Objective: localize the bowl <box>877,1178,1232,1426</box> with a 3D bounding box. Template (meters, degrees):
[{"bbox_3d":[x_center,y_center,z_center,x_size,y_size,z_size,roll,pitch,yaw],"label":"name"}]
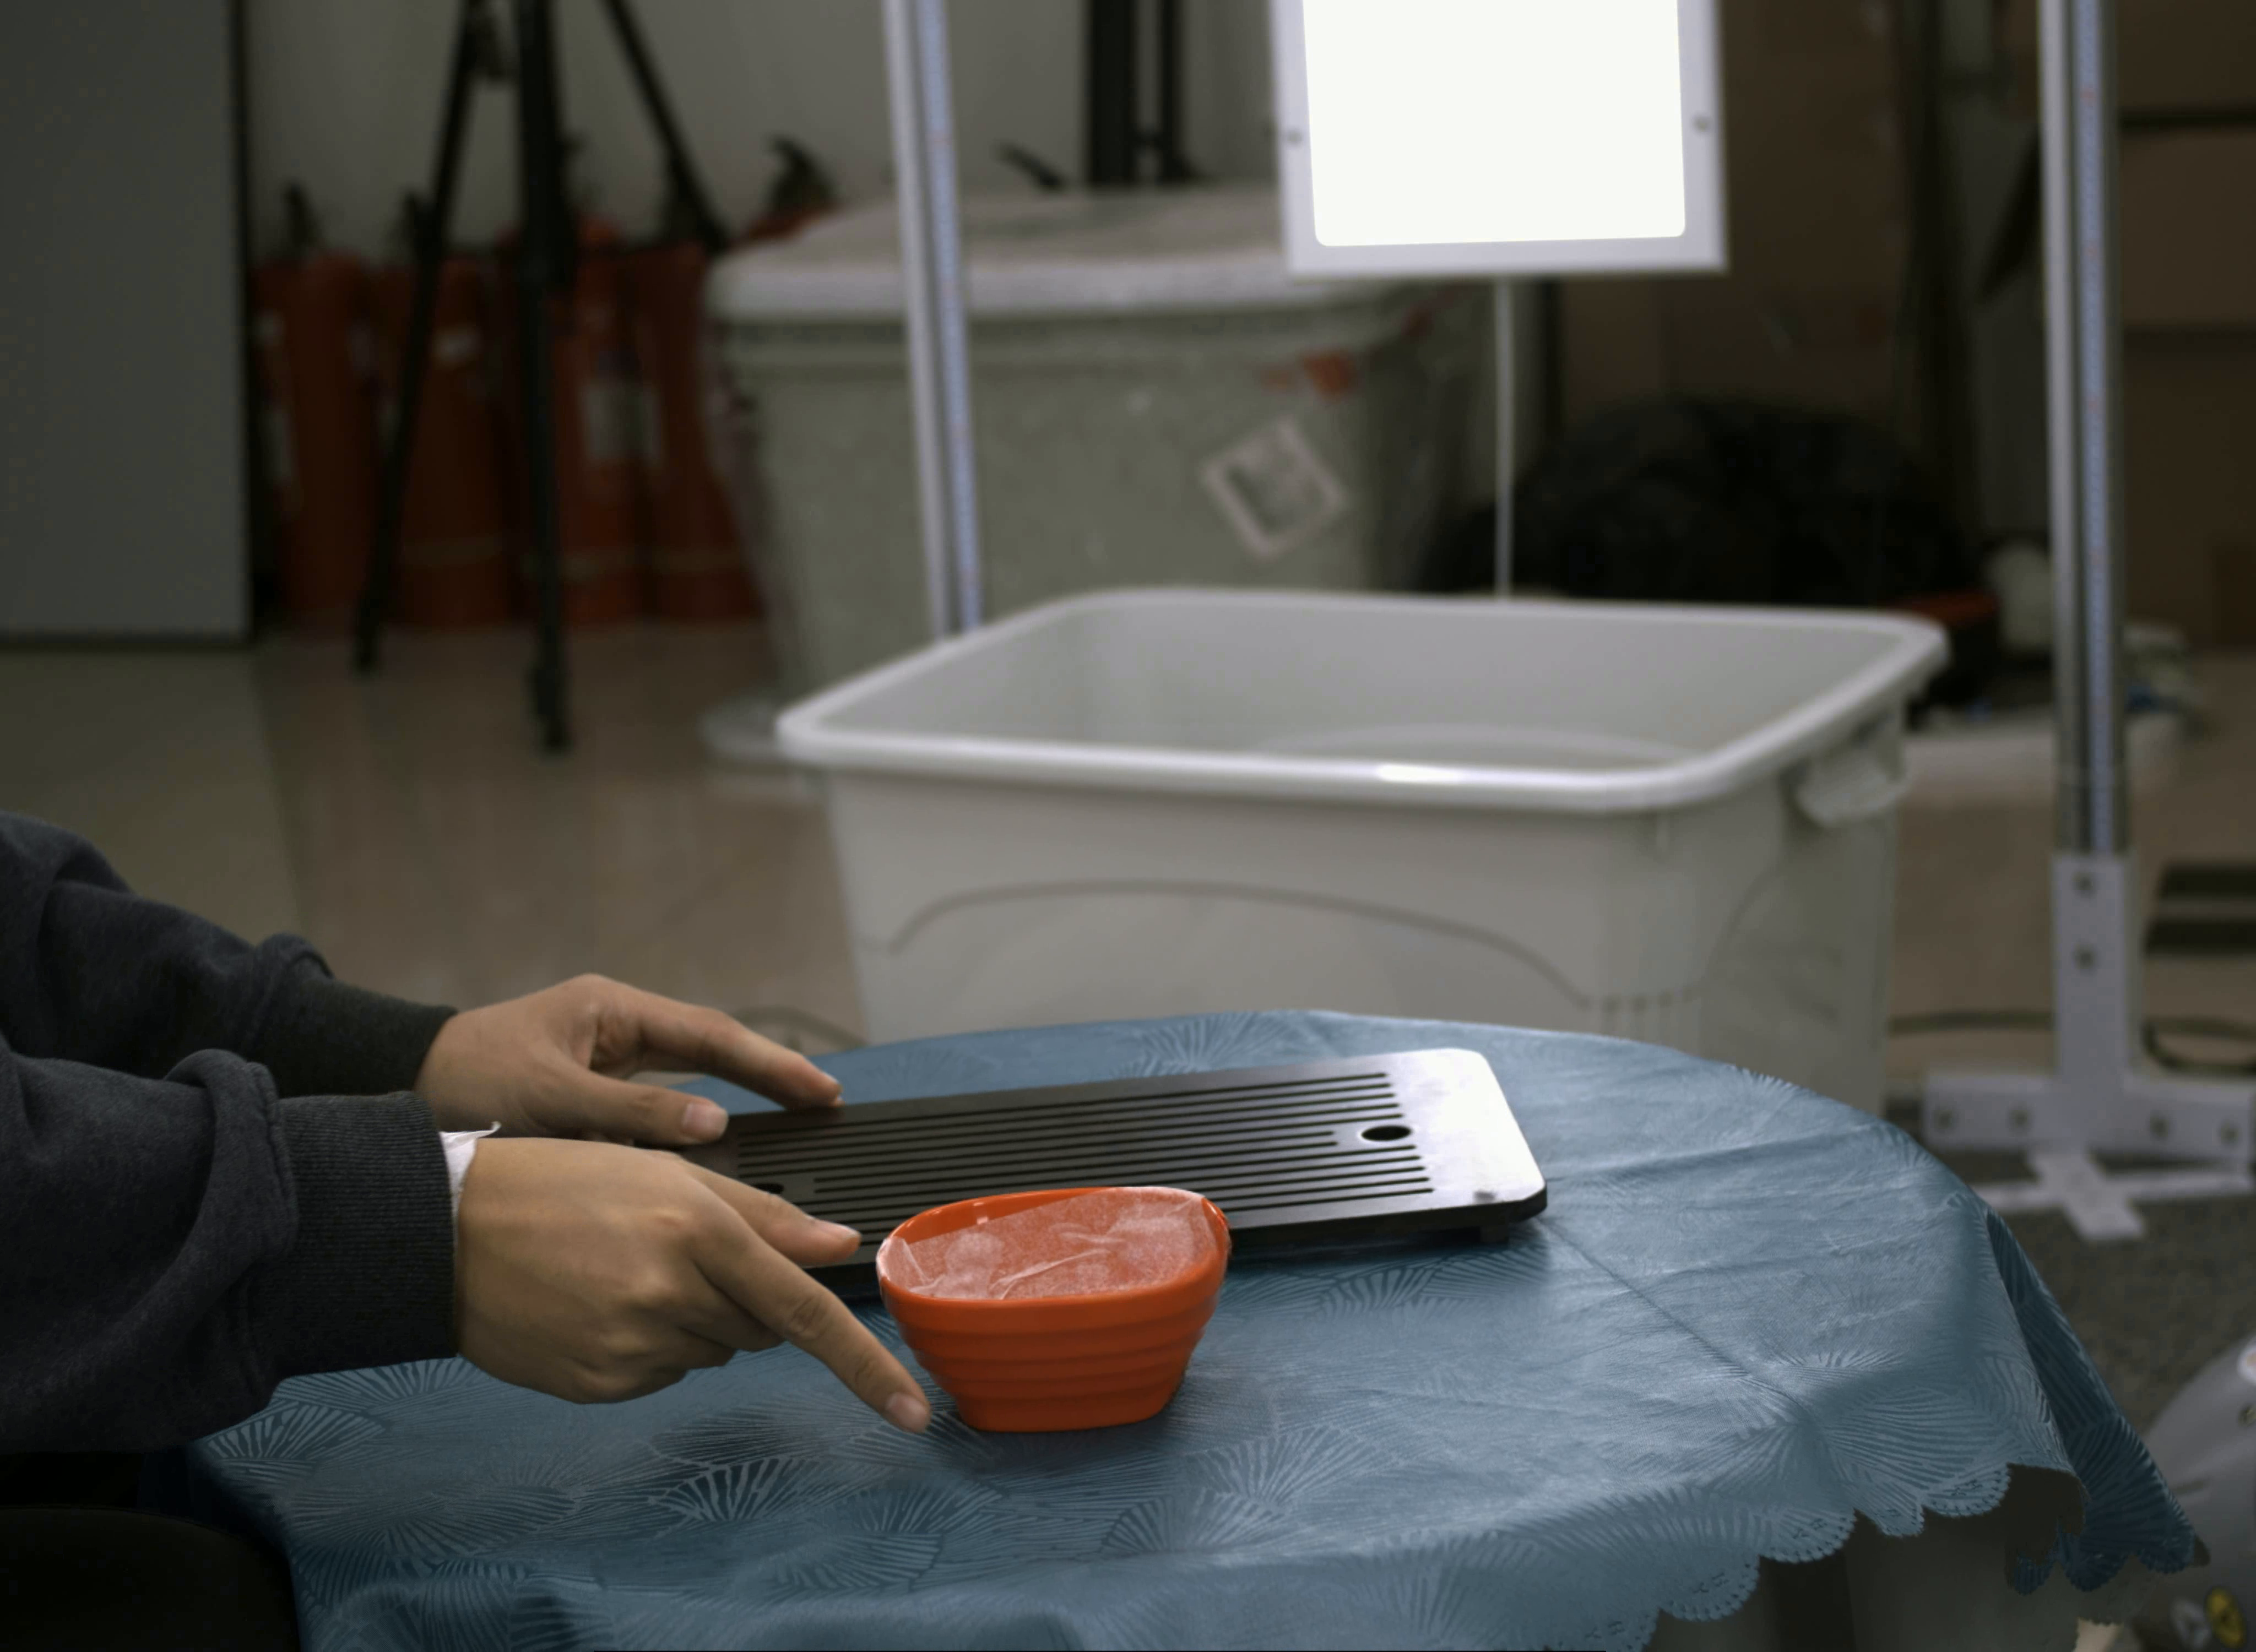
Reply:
[{"bbox_3d":[-0.021,0.149,1.696,0.118,0.051,0.119,-3,15,-1],"label":"bowl"}]

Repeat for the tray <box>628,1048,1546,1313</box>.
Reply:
[{"bbox_3d":[-0.018,0.121,1.881,0.305,0.019,0.170,-6,15,-1],"label":"tray"}]
